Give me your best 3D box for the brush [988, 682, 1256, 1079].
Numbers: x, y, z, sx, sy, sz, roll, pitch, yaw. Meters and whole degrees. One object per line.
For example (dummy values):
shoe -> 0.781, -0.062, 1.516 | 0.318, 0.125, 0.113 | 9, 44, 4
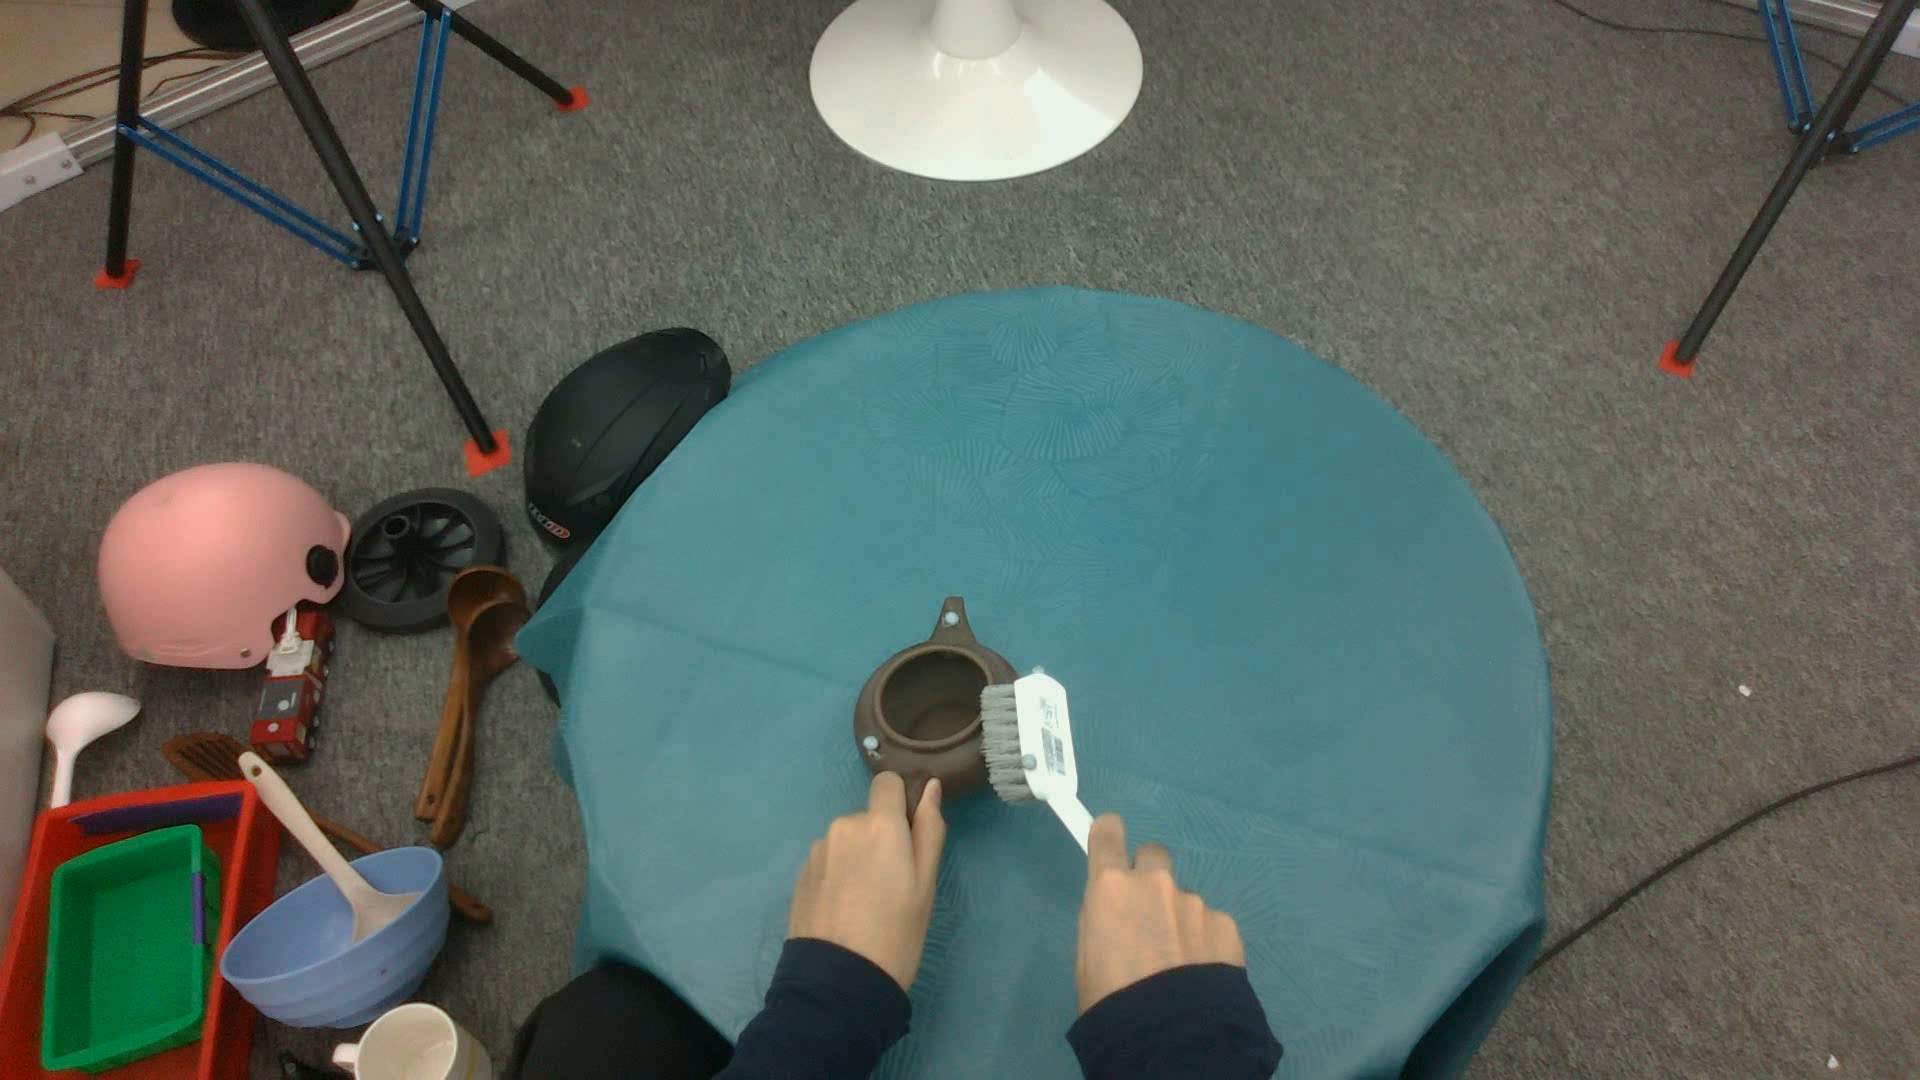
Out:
brush -> 0.072, 0.171, 0.697 | 0.050, 0.034, 0.244 | -42, 49, 18

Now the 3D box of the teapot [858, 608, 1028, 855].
teapot -> -0.009, 0.112, 0.800 | 0.102, 0.053, 0.154 | -4, 46, 10
